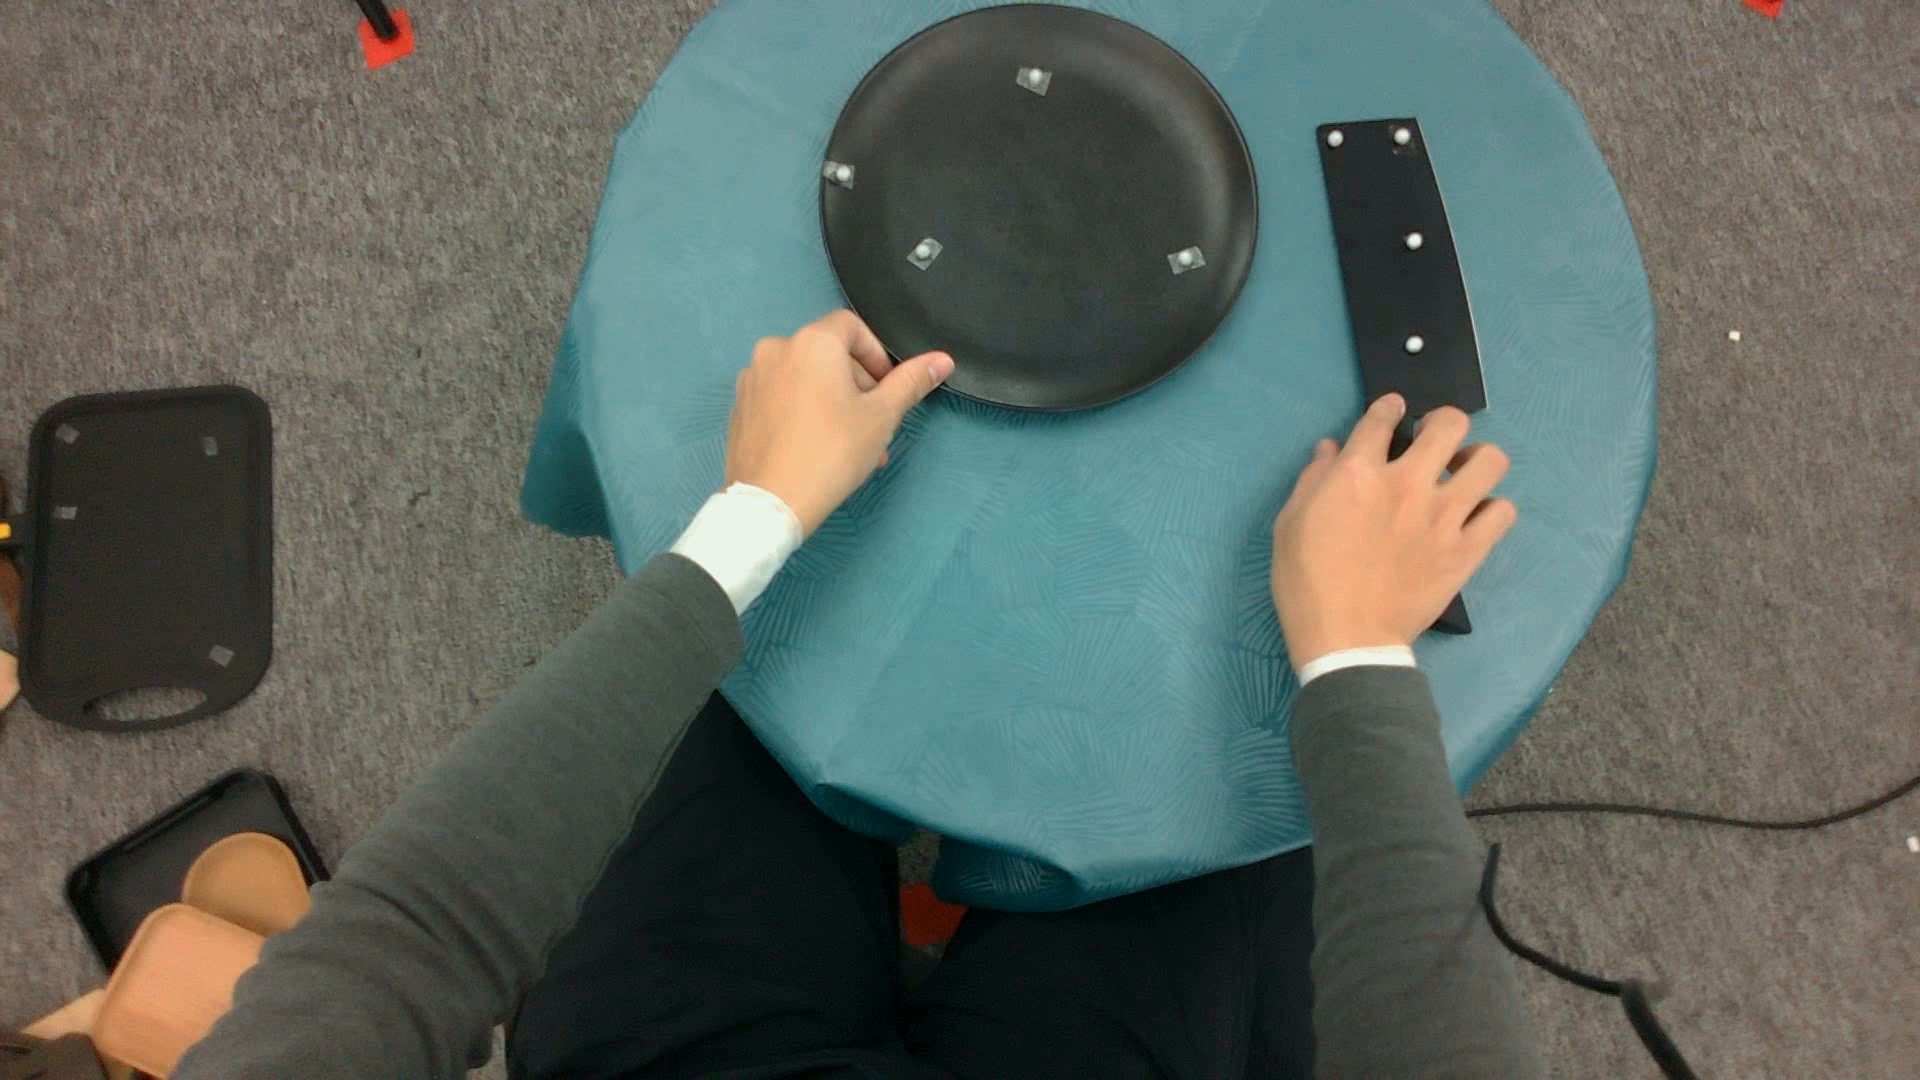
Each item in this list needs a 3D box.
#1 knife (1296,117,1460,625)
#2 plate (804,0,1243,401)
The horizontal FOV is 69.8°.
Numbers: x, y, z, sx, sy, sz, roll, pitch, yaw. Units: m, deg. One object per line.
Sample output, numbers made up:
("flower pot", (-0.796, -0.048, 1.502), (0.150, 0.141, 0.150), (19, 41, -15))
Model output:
("knife", (0.238, -0.102, 0.763), (0.081, 0.021, 0.303), (-1, 74, -4))
("plate", (0.036, -0.190, 0.768), (0.244, 0.023, 0.245), (1, 76, -3))
